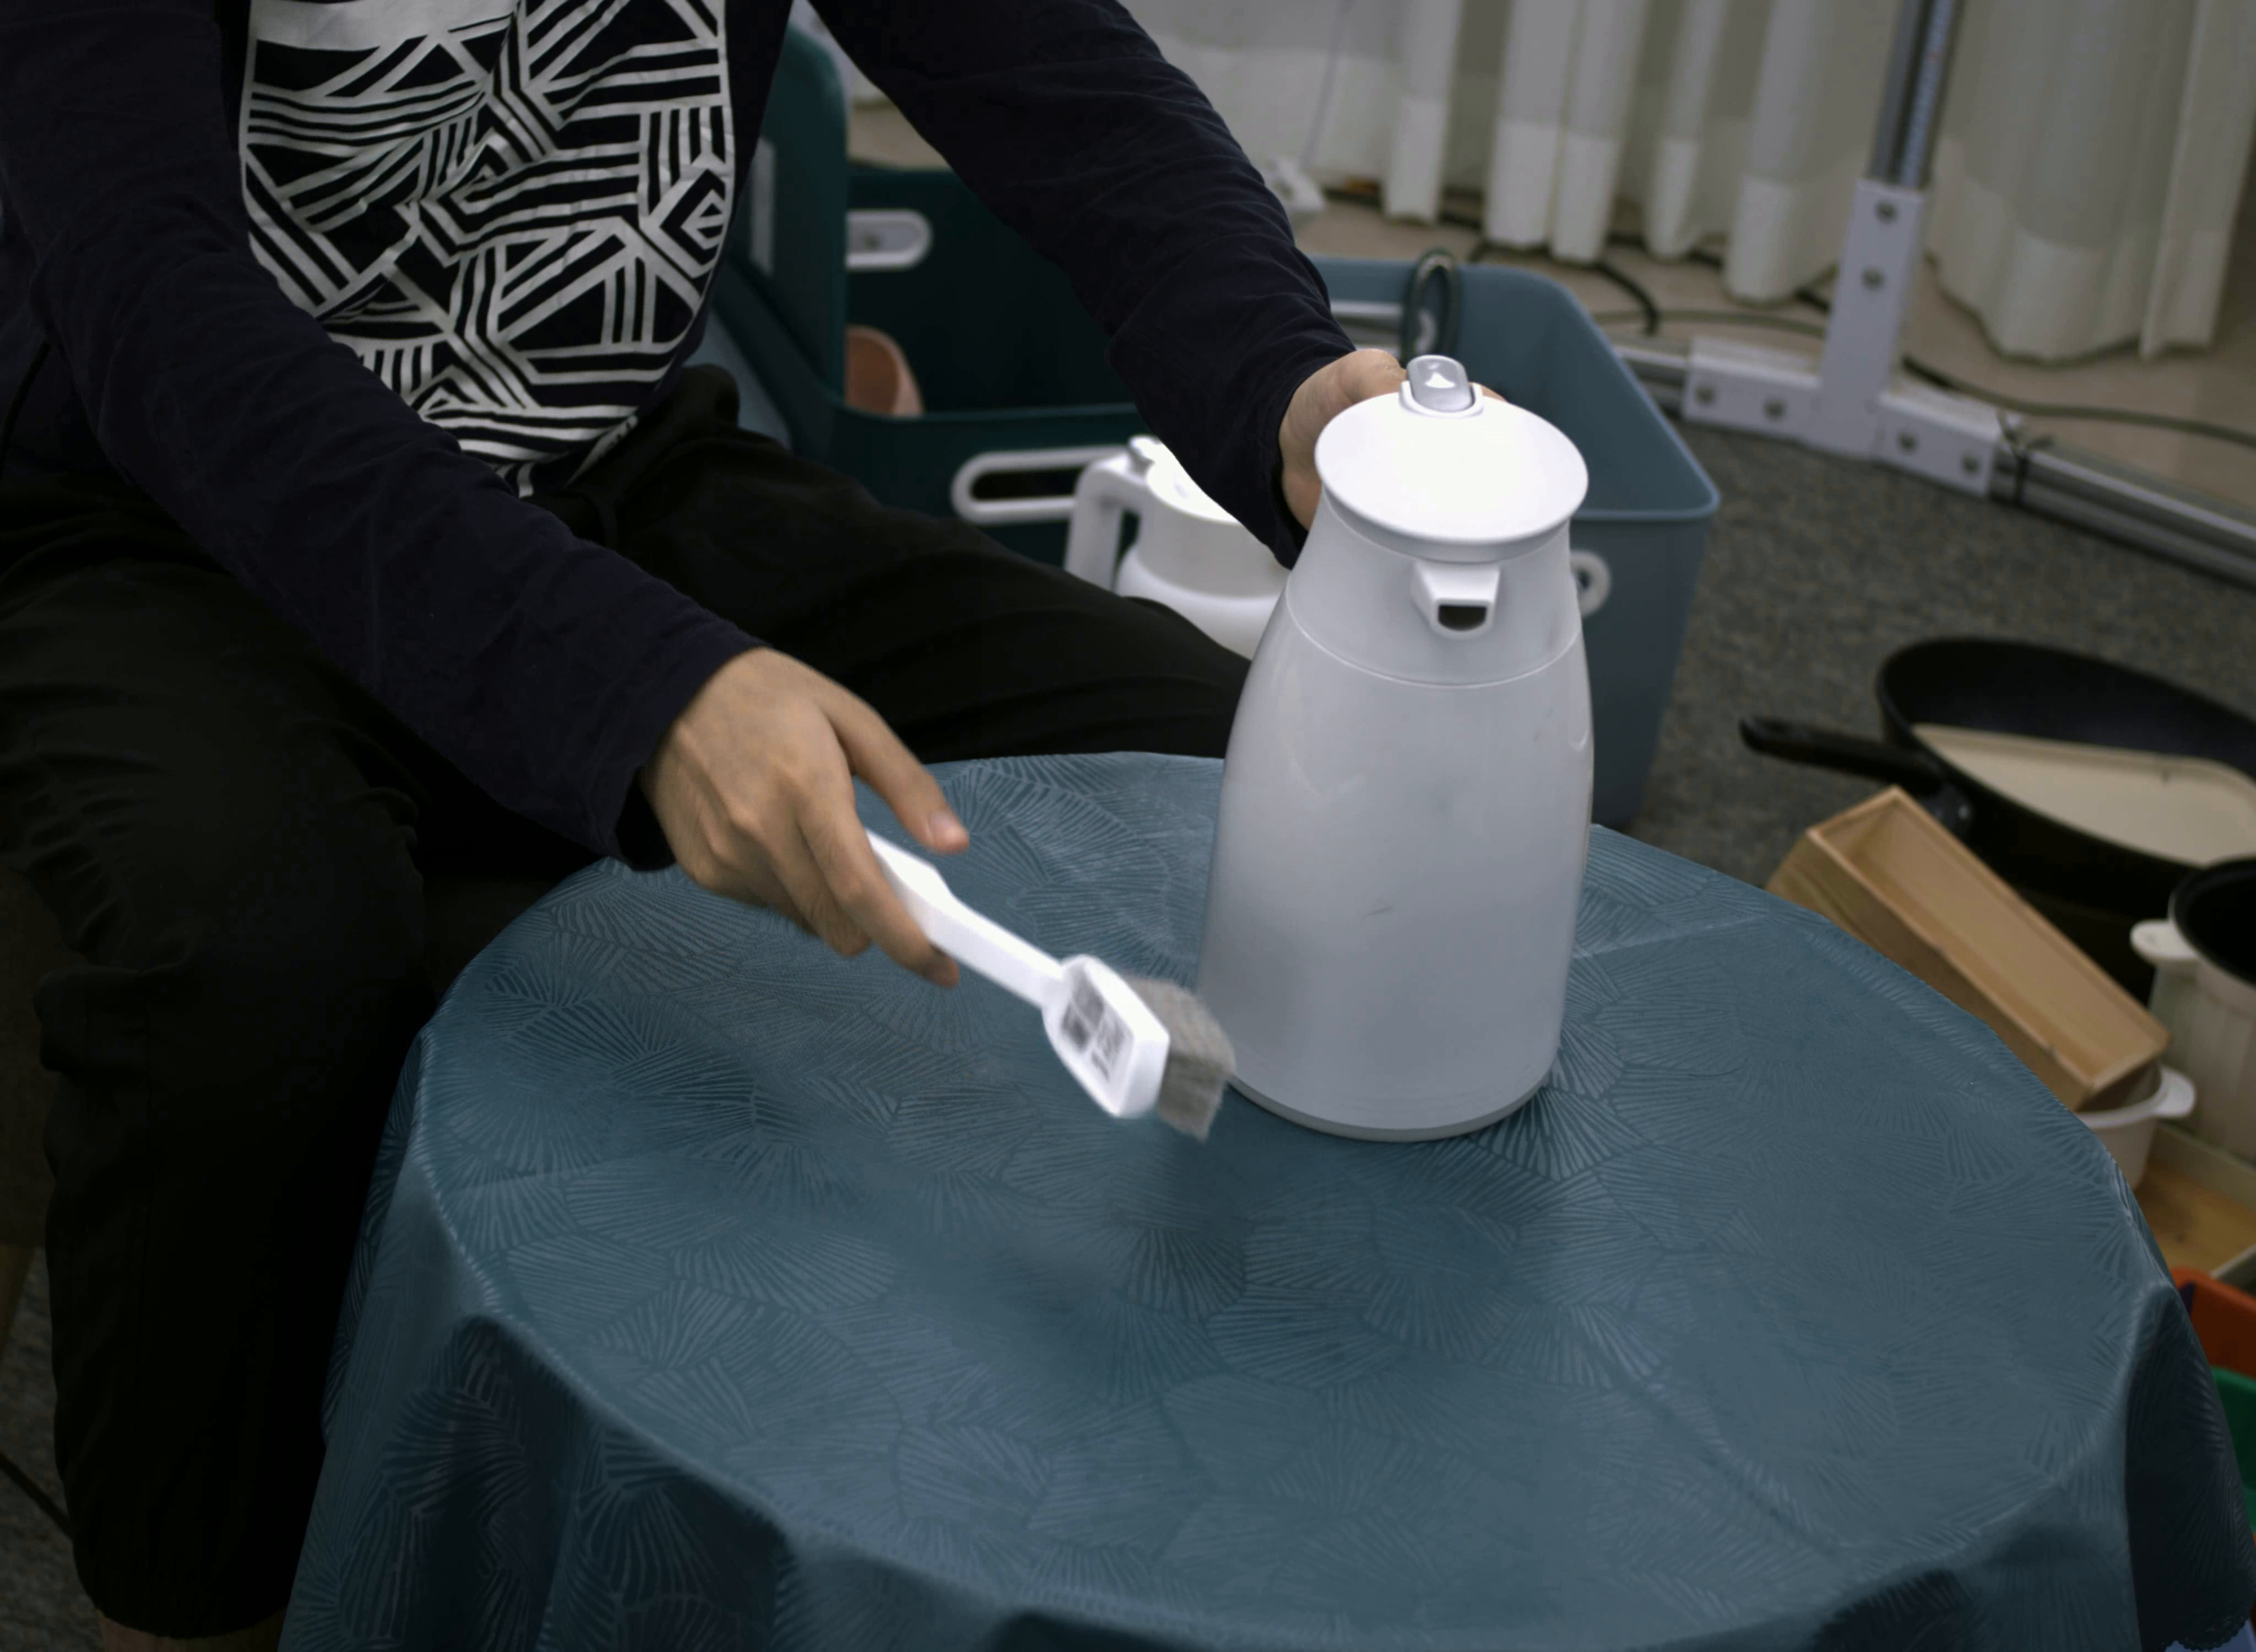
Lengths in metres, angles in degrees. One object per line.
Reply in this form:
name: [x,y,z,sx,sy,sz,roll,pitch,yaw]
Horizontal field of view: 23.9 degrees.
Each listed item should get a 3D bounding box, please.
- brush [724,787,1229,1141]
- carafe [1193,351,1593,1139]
brush: [-0.051,0.042,1.793,0.050,0.034,0.246,2,21,-42]
carafe: [0.095,-0.040,1.848,0.132,0.247,0.169,0,36,-6]
